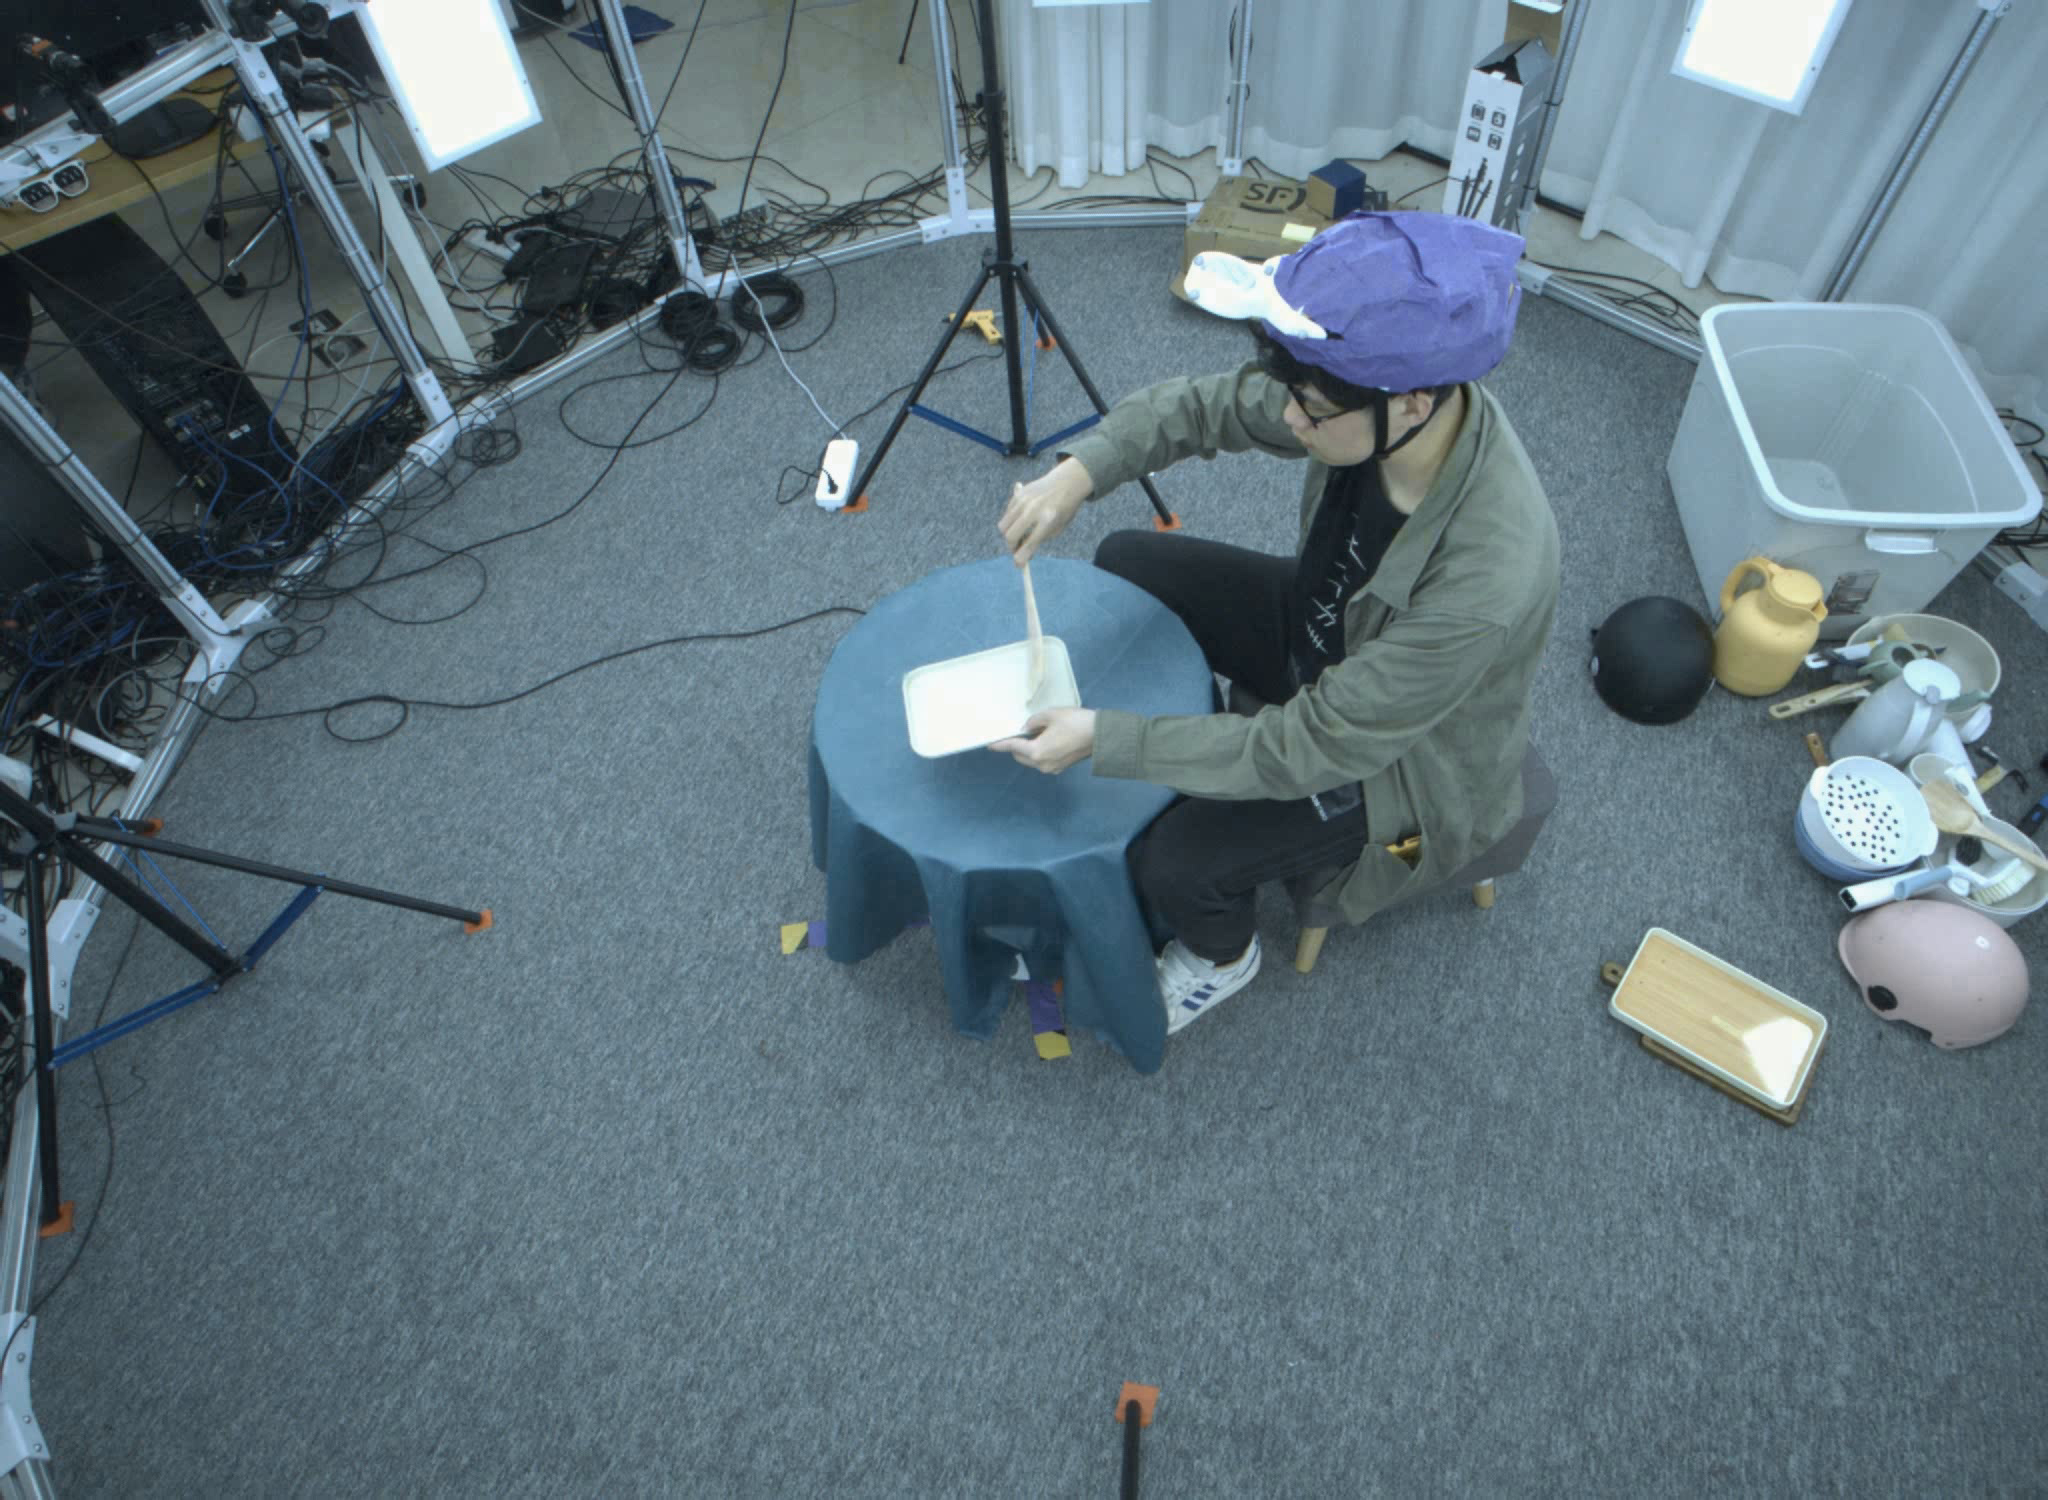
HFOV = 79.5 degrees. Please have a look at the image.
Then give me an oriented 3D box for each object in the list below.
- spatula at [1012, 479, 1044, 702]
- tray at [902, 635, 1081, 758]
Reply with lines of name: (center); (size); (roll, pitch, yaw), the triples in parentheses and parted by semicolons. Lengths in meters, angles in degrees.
spatula: (0.000, -0.230, 1.692); (0.017, 0.079, 0.325); (-1, 73, -18)
tray: (-0.047, -0.074, 1.711); (0.240, 0.018, 0.168); (-13, 52, 0)
